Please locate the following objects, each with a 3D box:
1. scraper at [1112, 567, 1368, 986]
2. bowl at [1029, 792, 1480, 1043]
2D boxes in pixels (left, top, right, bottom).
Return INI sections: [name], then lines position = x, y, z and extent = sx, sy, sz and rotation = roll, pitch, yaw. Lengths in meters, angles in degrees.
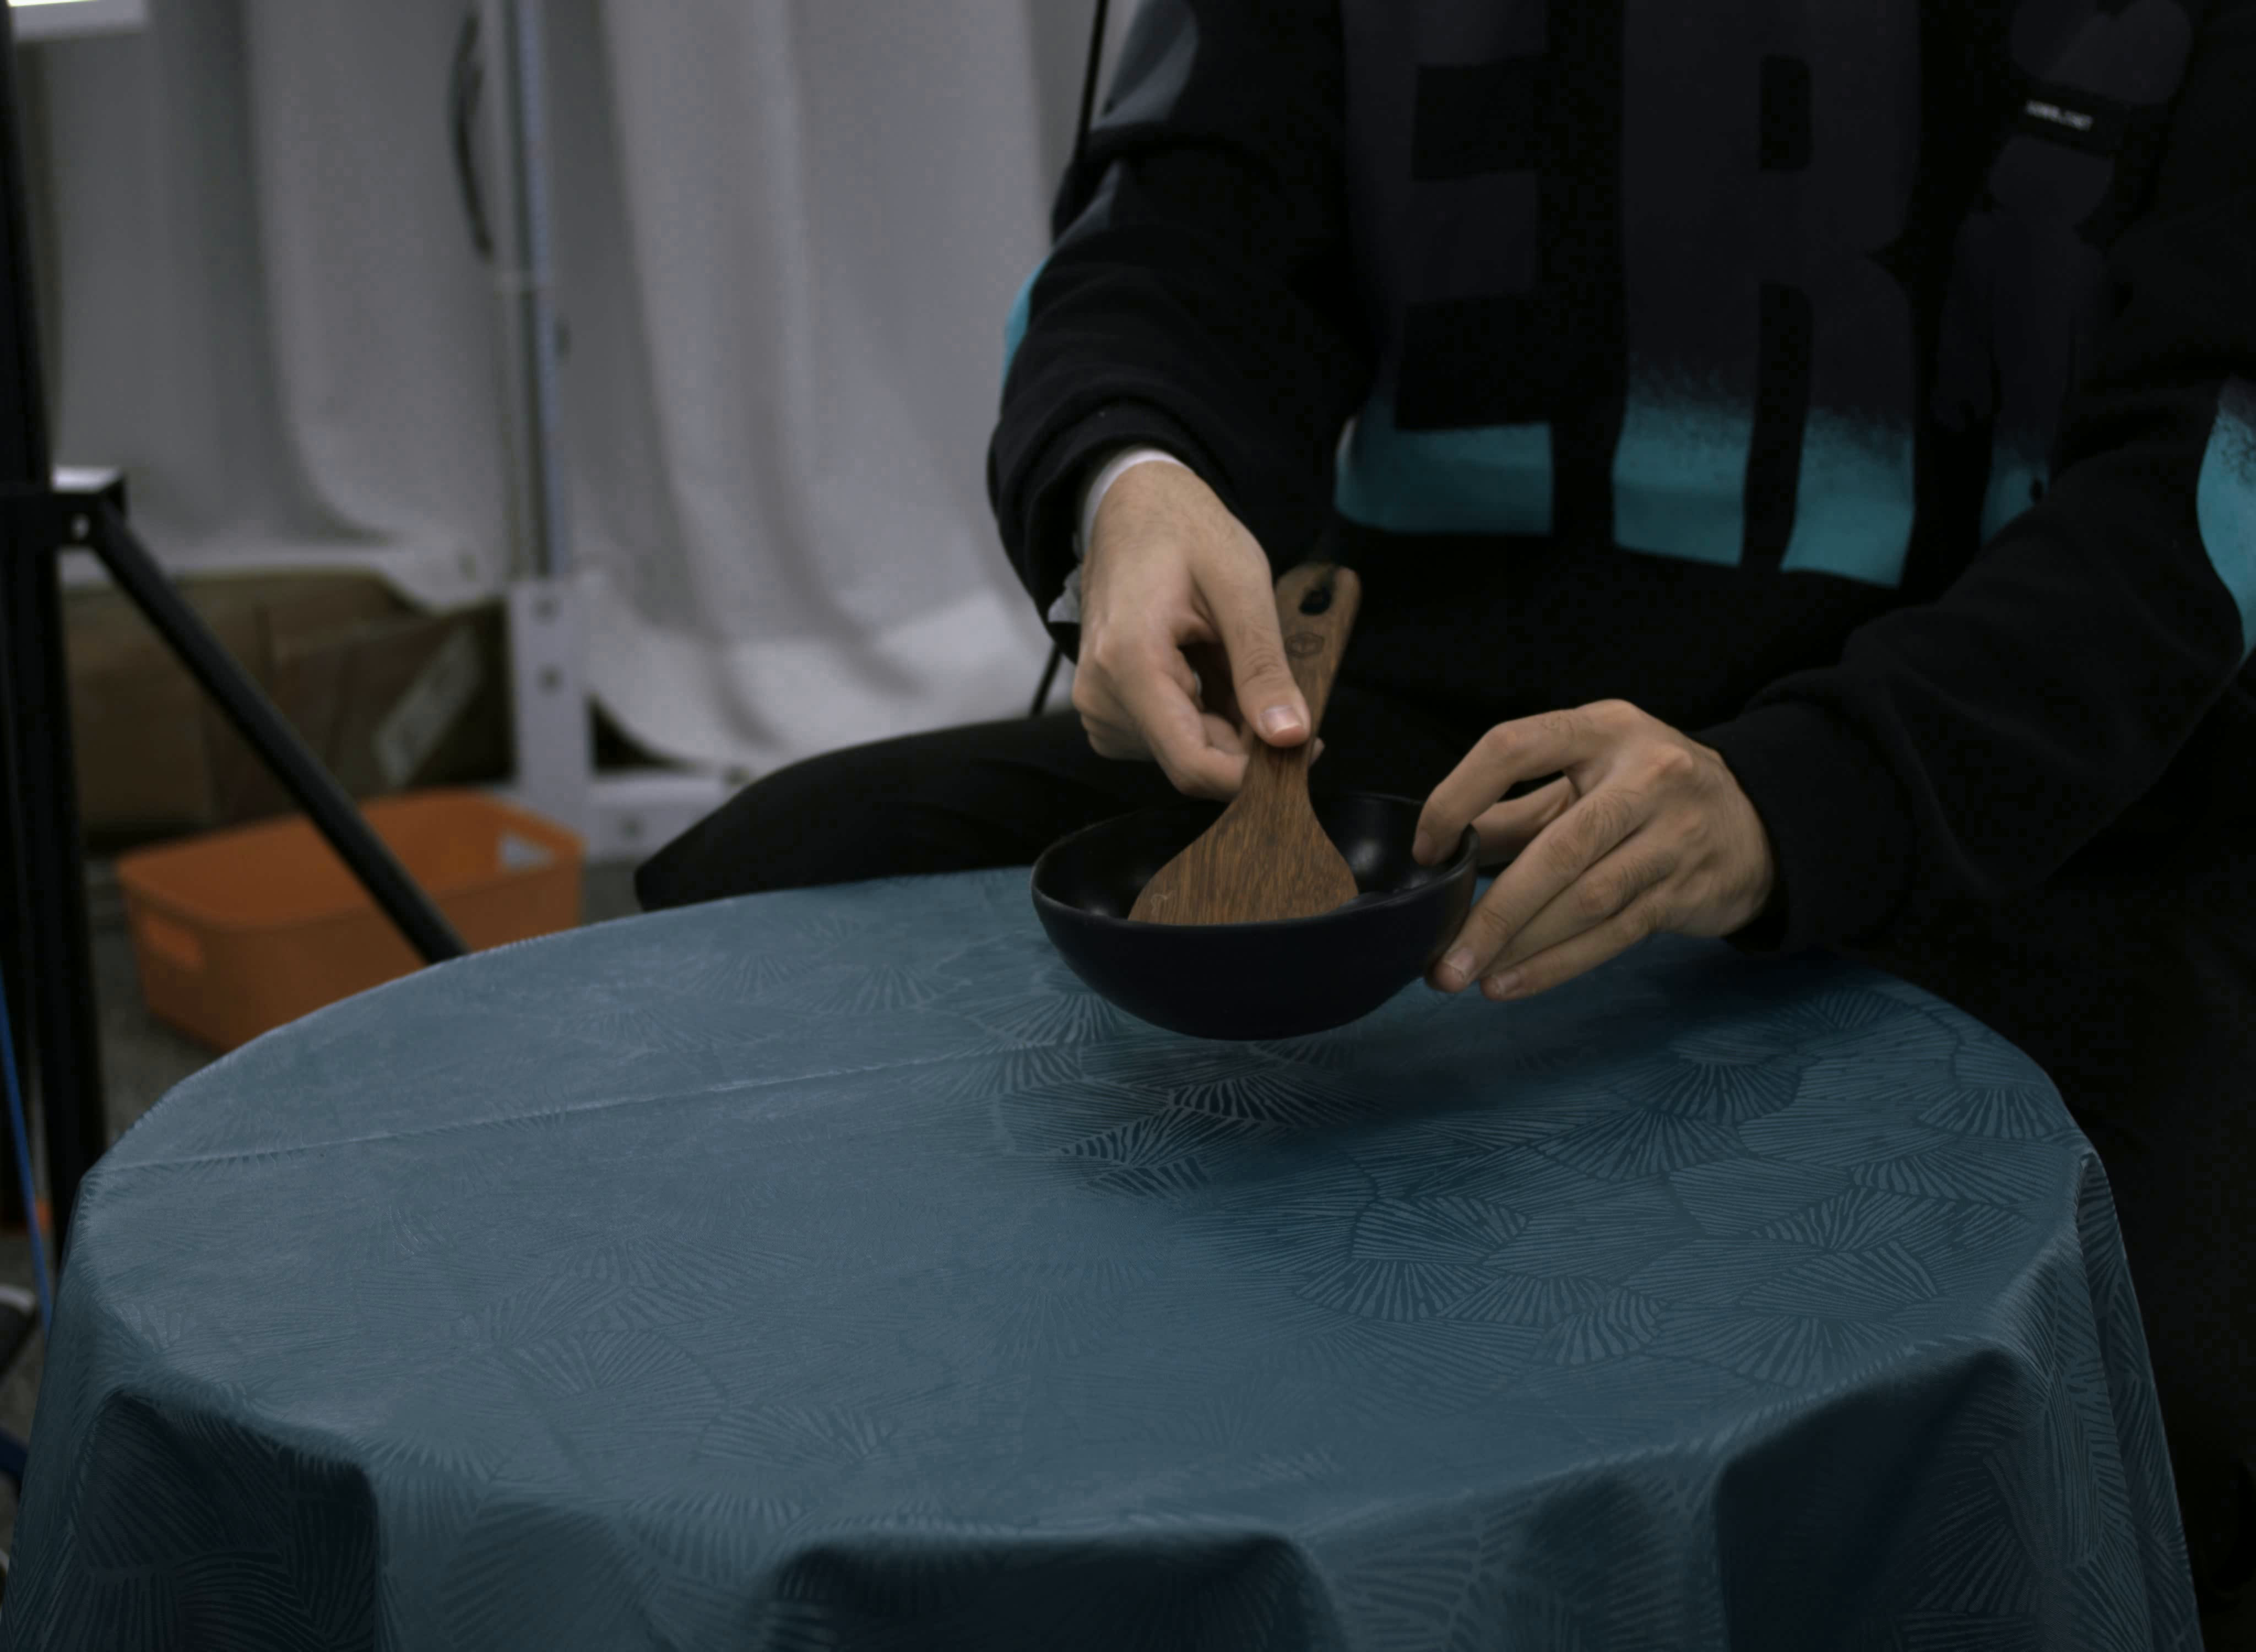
[scraper]
position = 0.047, -0.017, 1.658
extent = 0.076, 0.011, 0.212
rotation = -1, 39, 14
[bowl]
position = 0.041, 0.033, 1.626
extent = 0.139, 0.050, 0.141
rotation = -8, 15, 1
